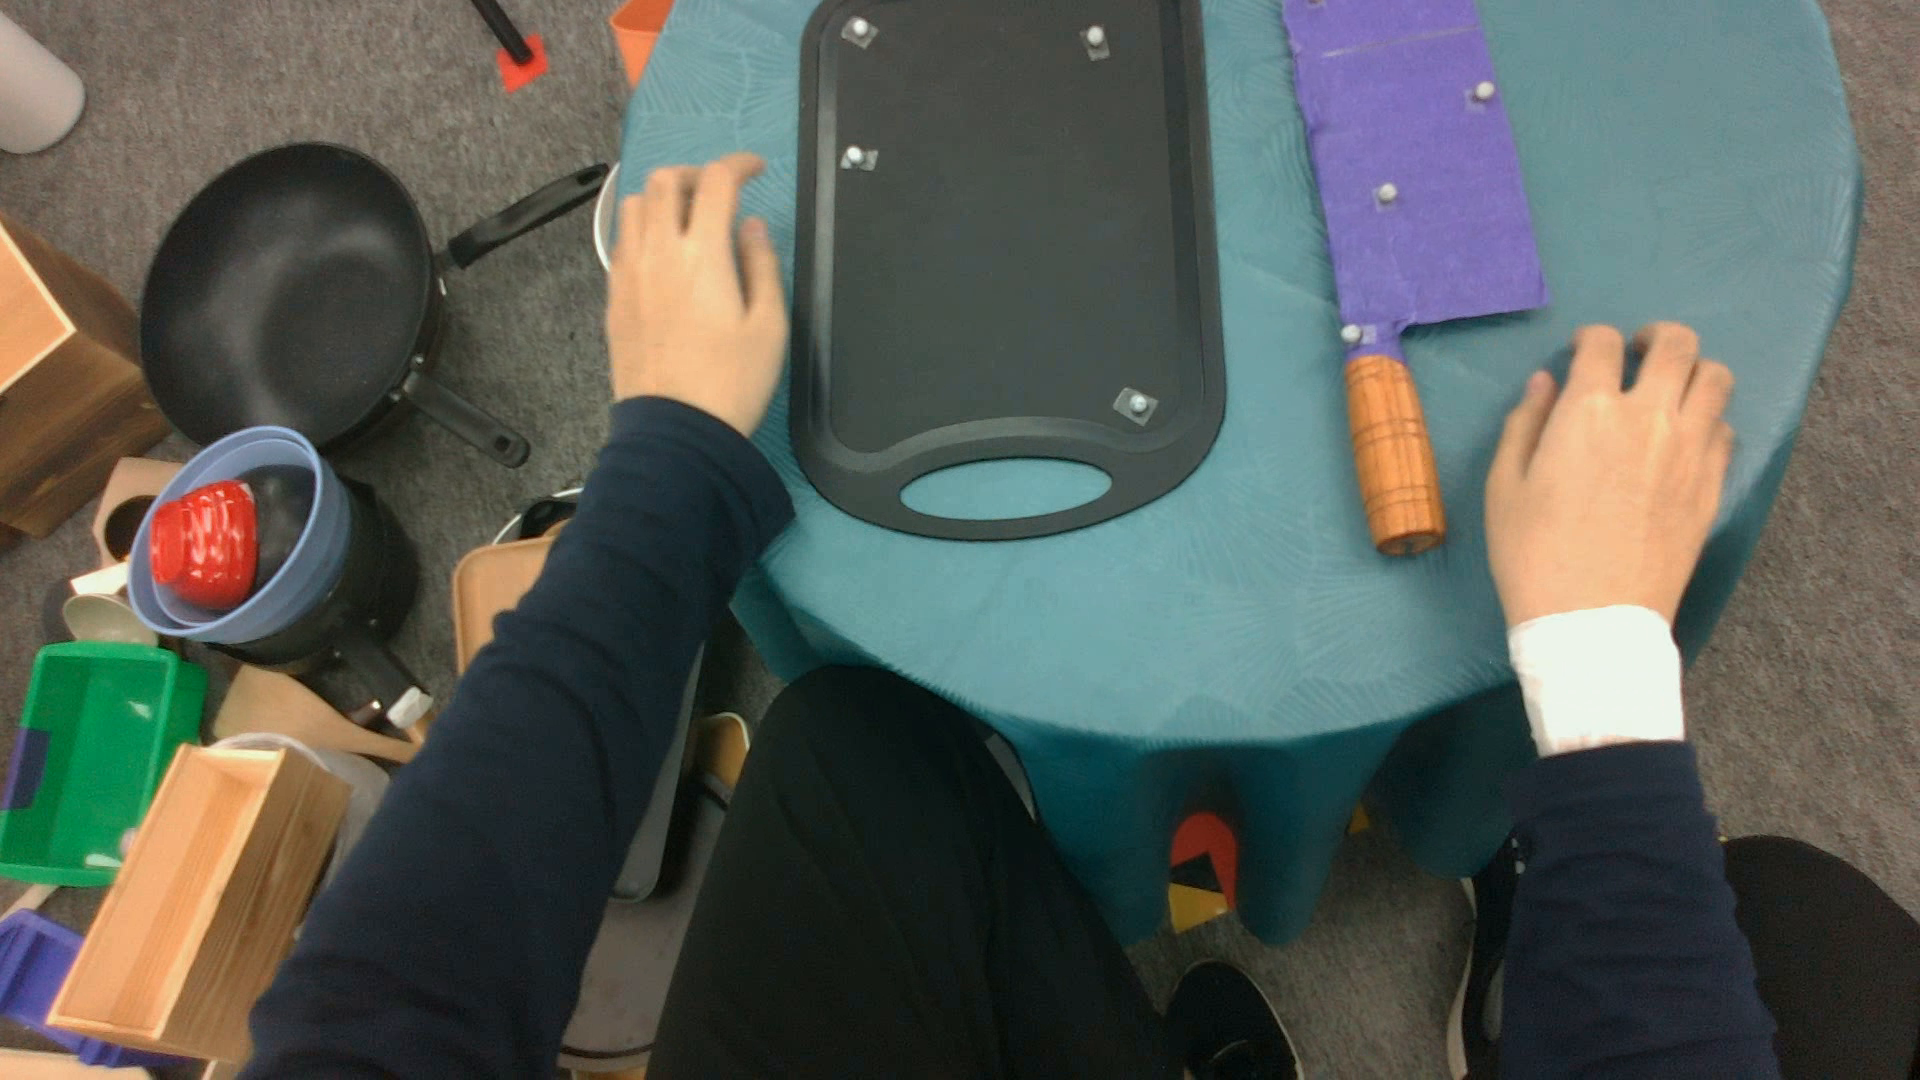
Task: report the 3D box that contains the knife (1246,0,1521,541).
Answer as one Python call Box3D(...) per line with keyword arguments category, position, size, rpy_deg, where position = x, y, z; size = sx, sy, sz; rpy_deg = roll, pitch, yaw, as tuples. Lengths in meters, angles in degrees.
Box3D(category="knife", position=(0.205, -0.155, 0.641), size=(0.104, 0.032, 0.316), rpy_deg=(-8, 71, 6))

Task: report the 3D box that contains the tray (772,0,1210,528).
Box3D(category="tray", position=(0.012, -0.162, 0.681), size=(0.211, 0.010, 0.326), rpy_deg=(-3, 72, 8))
